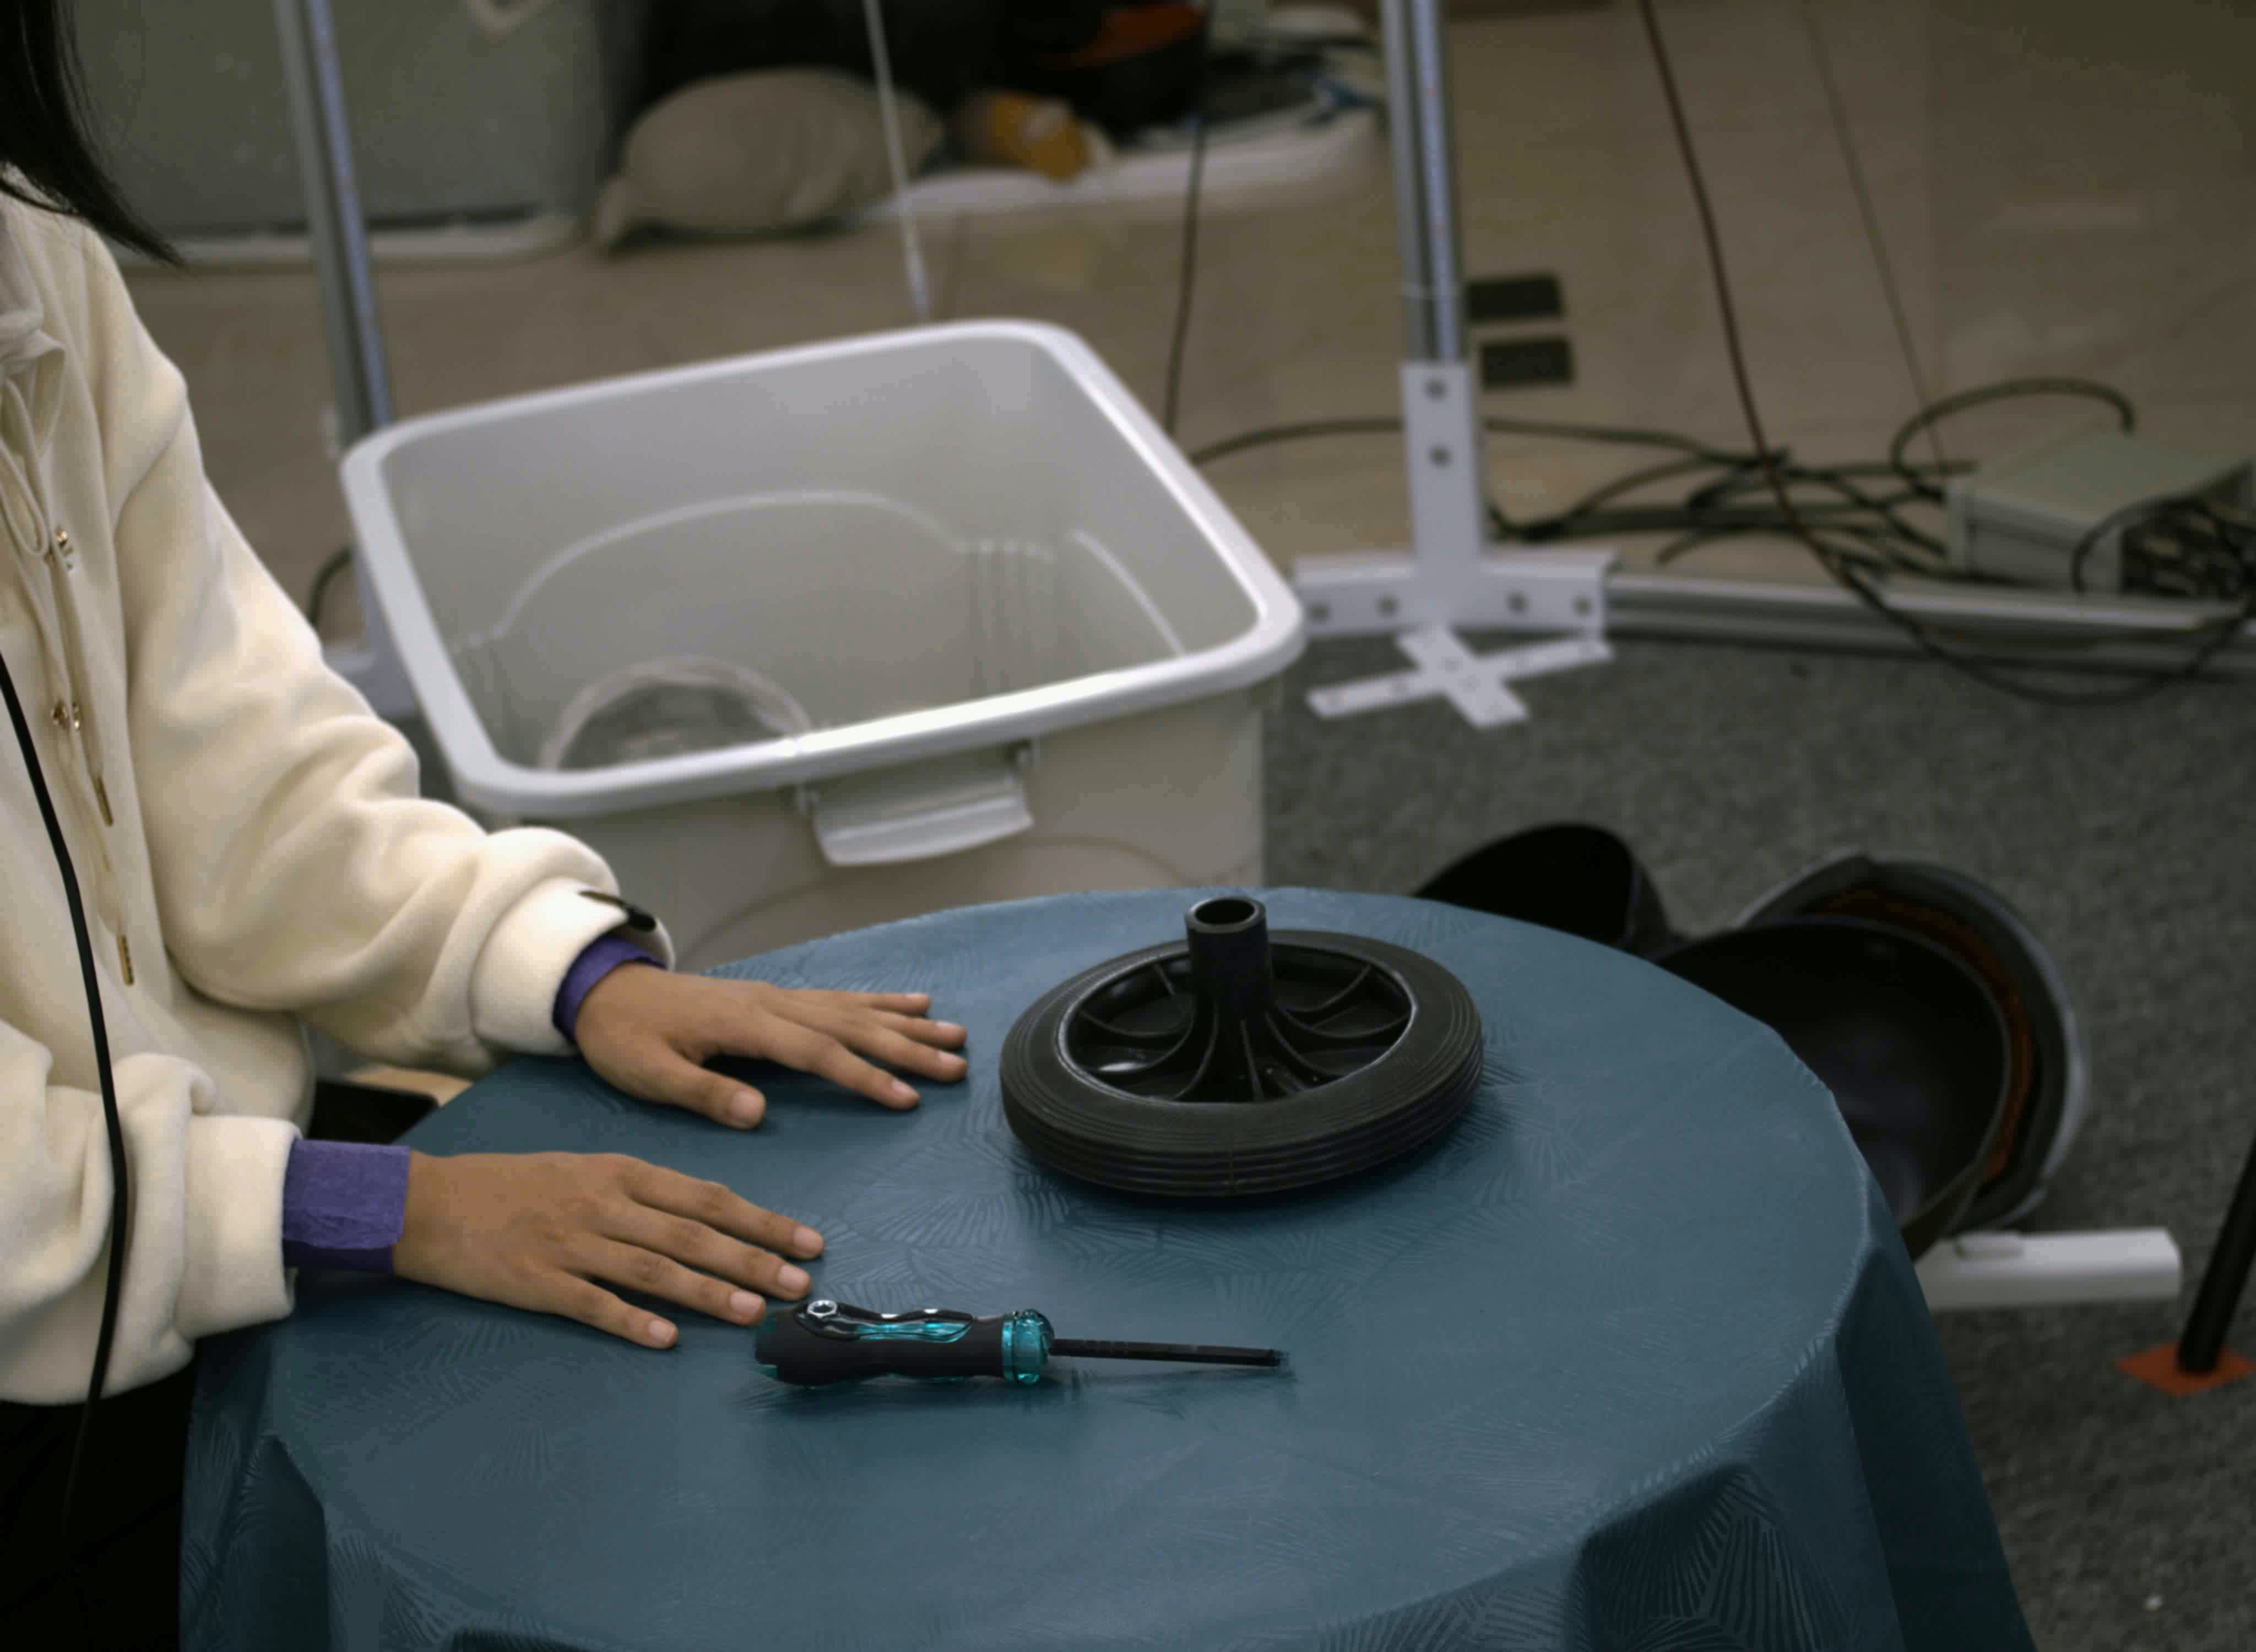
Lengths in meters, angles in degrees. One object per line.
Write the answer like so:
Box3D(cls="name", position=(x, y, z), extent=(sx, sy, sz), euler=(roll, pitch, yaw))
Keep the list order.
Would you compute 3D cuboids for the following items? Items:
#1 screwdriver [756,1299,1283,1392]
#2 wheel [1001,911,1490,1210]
Box3D(cls="screwdriver", position=(-0.039, 0.189, 2.027), extent=(0.189, 0.034, 0.033), euler=(3, 26, 7))
Box3D(cls="wheel", position=(0.044, 0.075, 2.186), extent=(0.188, 0.080, 0.185), euler=(17, 34, 36))
